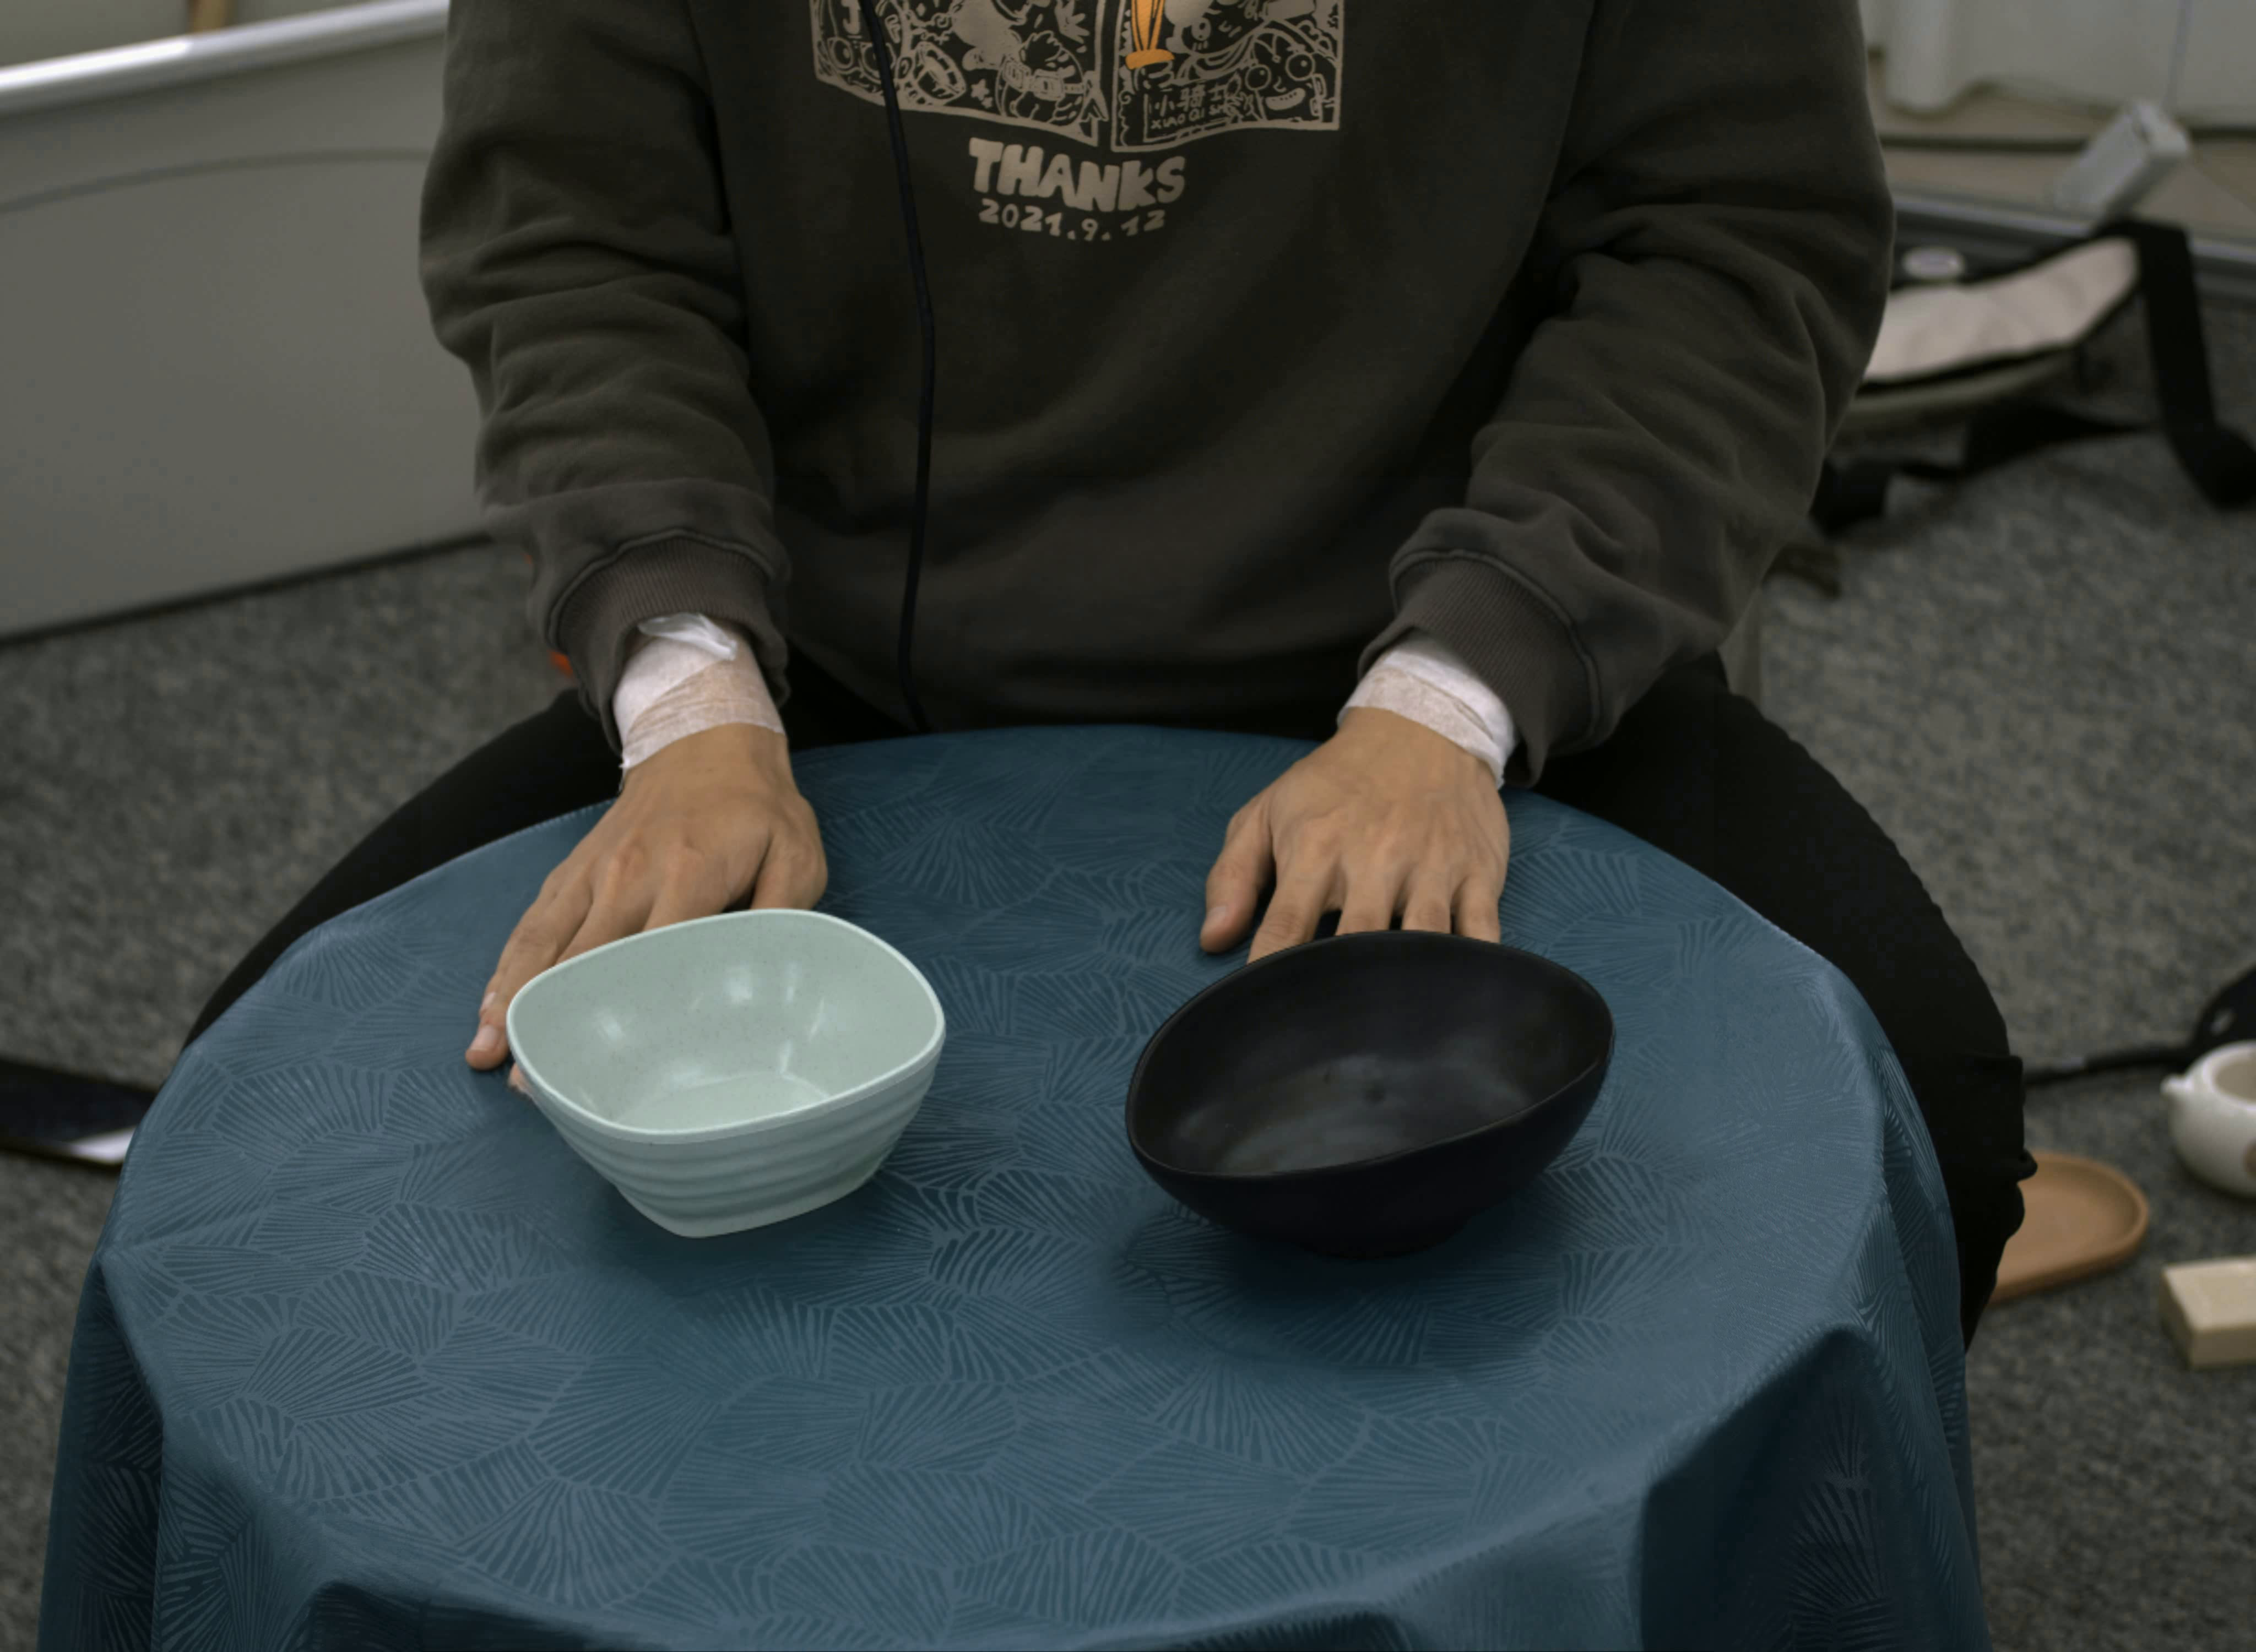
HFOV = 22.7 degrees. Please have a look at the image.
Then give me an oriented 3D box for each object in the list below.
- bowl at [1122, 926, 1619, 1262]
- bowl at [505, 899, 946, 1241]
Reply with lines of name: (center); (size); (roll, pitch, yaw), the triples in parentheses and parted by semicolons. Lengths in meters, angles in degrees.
bowl: (0.081, 0.098, 1.831); (0.171, 0.066, 0.138); (-19, 31, -26)
bowl: (-0.133, 0.088, 1.876); (0.151, 0.058, 0.154); (-2, 30, 1)
